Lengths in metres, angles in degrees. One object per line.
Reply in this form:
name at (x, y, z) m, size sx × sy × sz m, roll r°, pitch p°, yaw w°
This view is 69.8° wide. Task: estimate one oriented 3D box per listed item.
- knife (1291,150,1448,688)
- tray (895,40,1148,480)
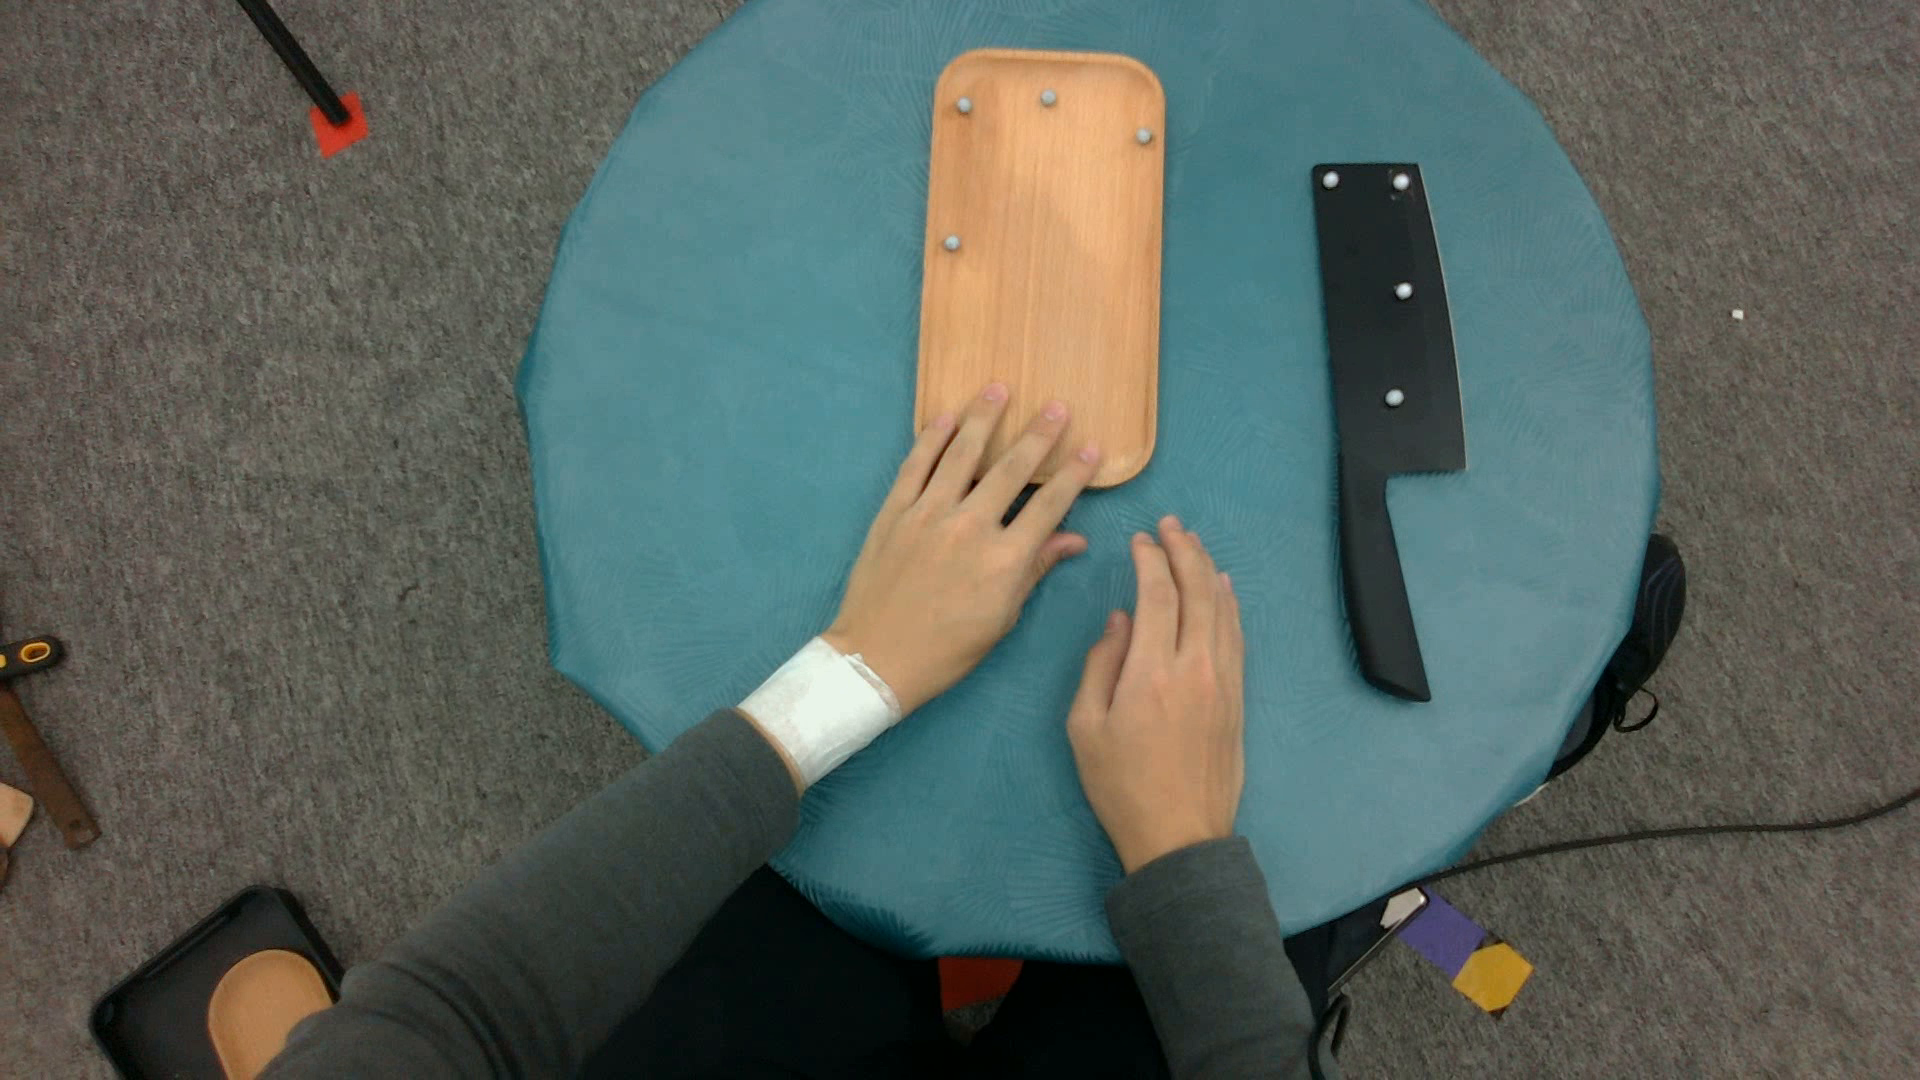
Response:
knife at (0.218, -0.073, 0.727) m, size 0.081 × 0.021 × 0.303 m, roll 2°, pitch 74°, yaw -1°
tray at (0.035, -0.154, 0.743) m, size 0.130 × 0.023 × 0.251 m, roll 3°, pitch 77°, yaw 3°
